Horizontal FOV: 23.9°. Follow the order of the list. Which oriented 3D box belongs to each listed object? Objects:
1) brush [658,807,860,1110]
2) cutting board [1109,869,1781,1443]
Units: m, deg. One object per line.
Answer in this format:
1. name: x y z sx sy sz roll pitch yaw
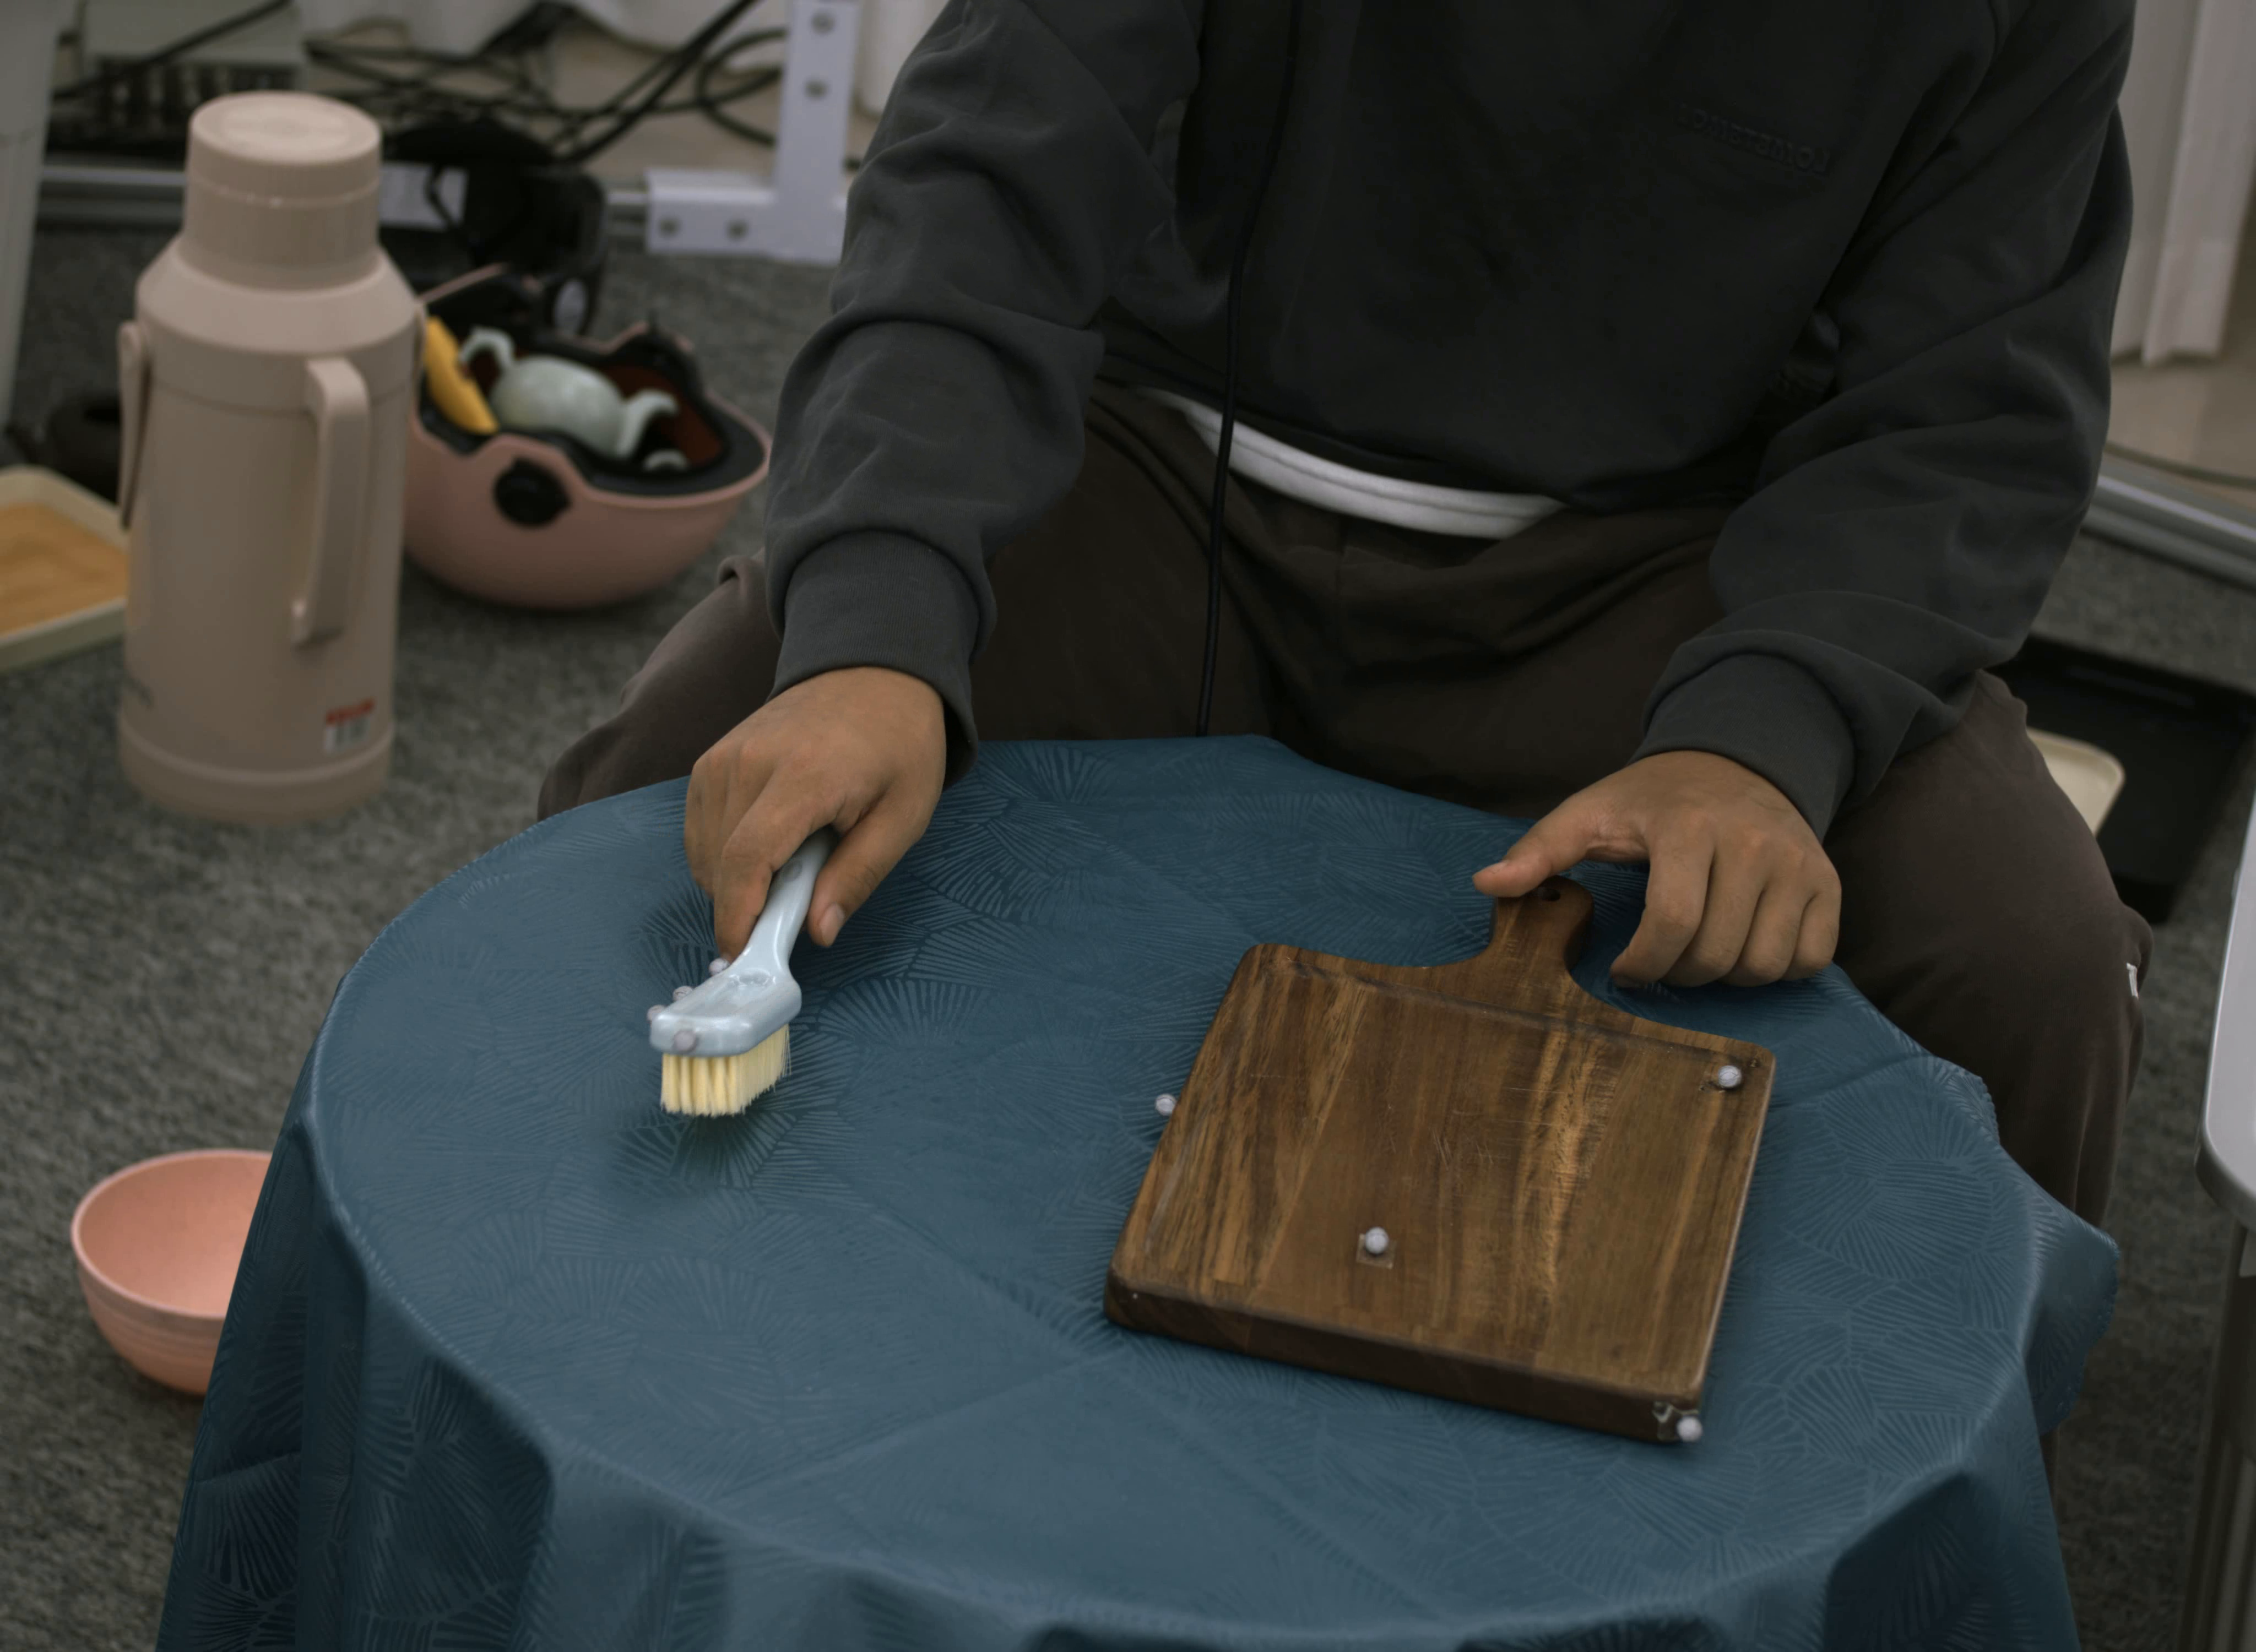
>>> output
1. brush: -0.126 0.046 1.882 0.038 0.049 0.229 3 22 7
2. cutting board: 0.124 0.099 1.861 0.201 0.023 0.353 12 27 9
